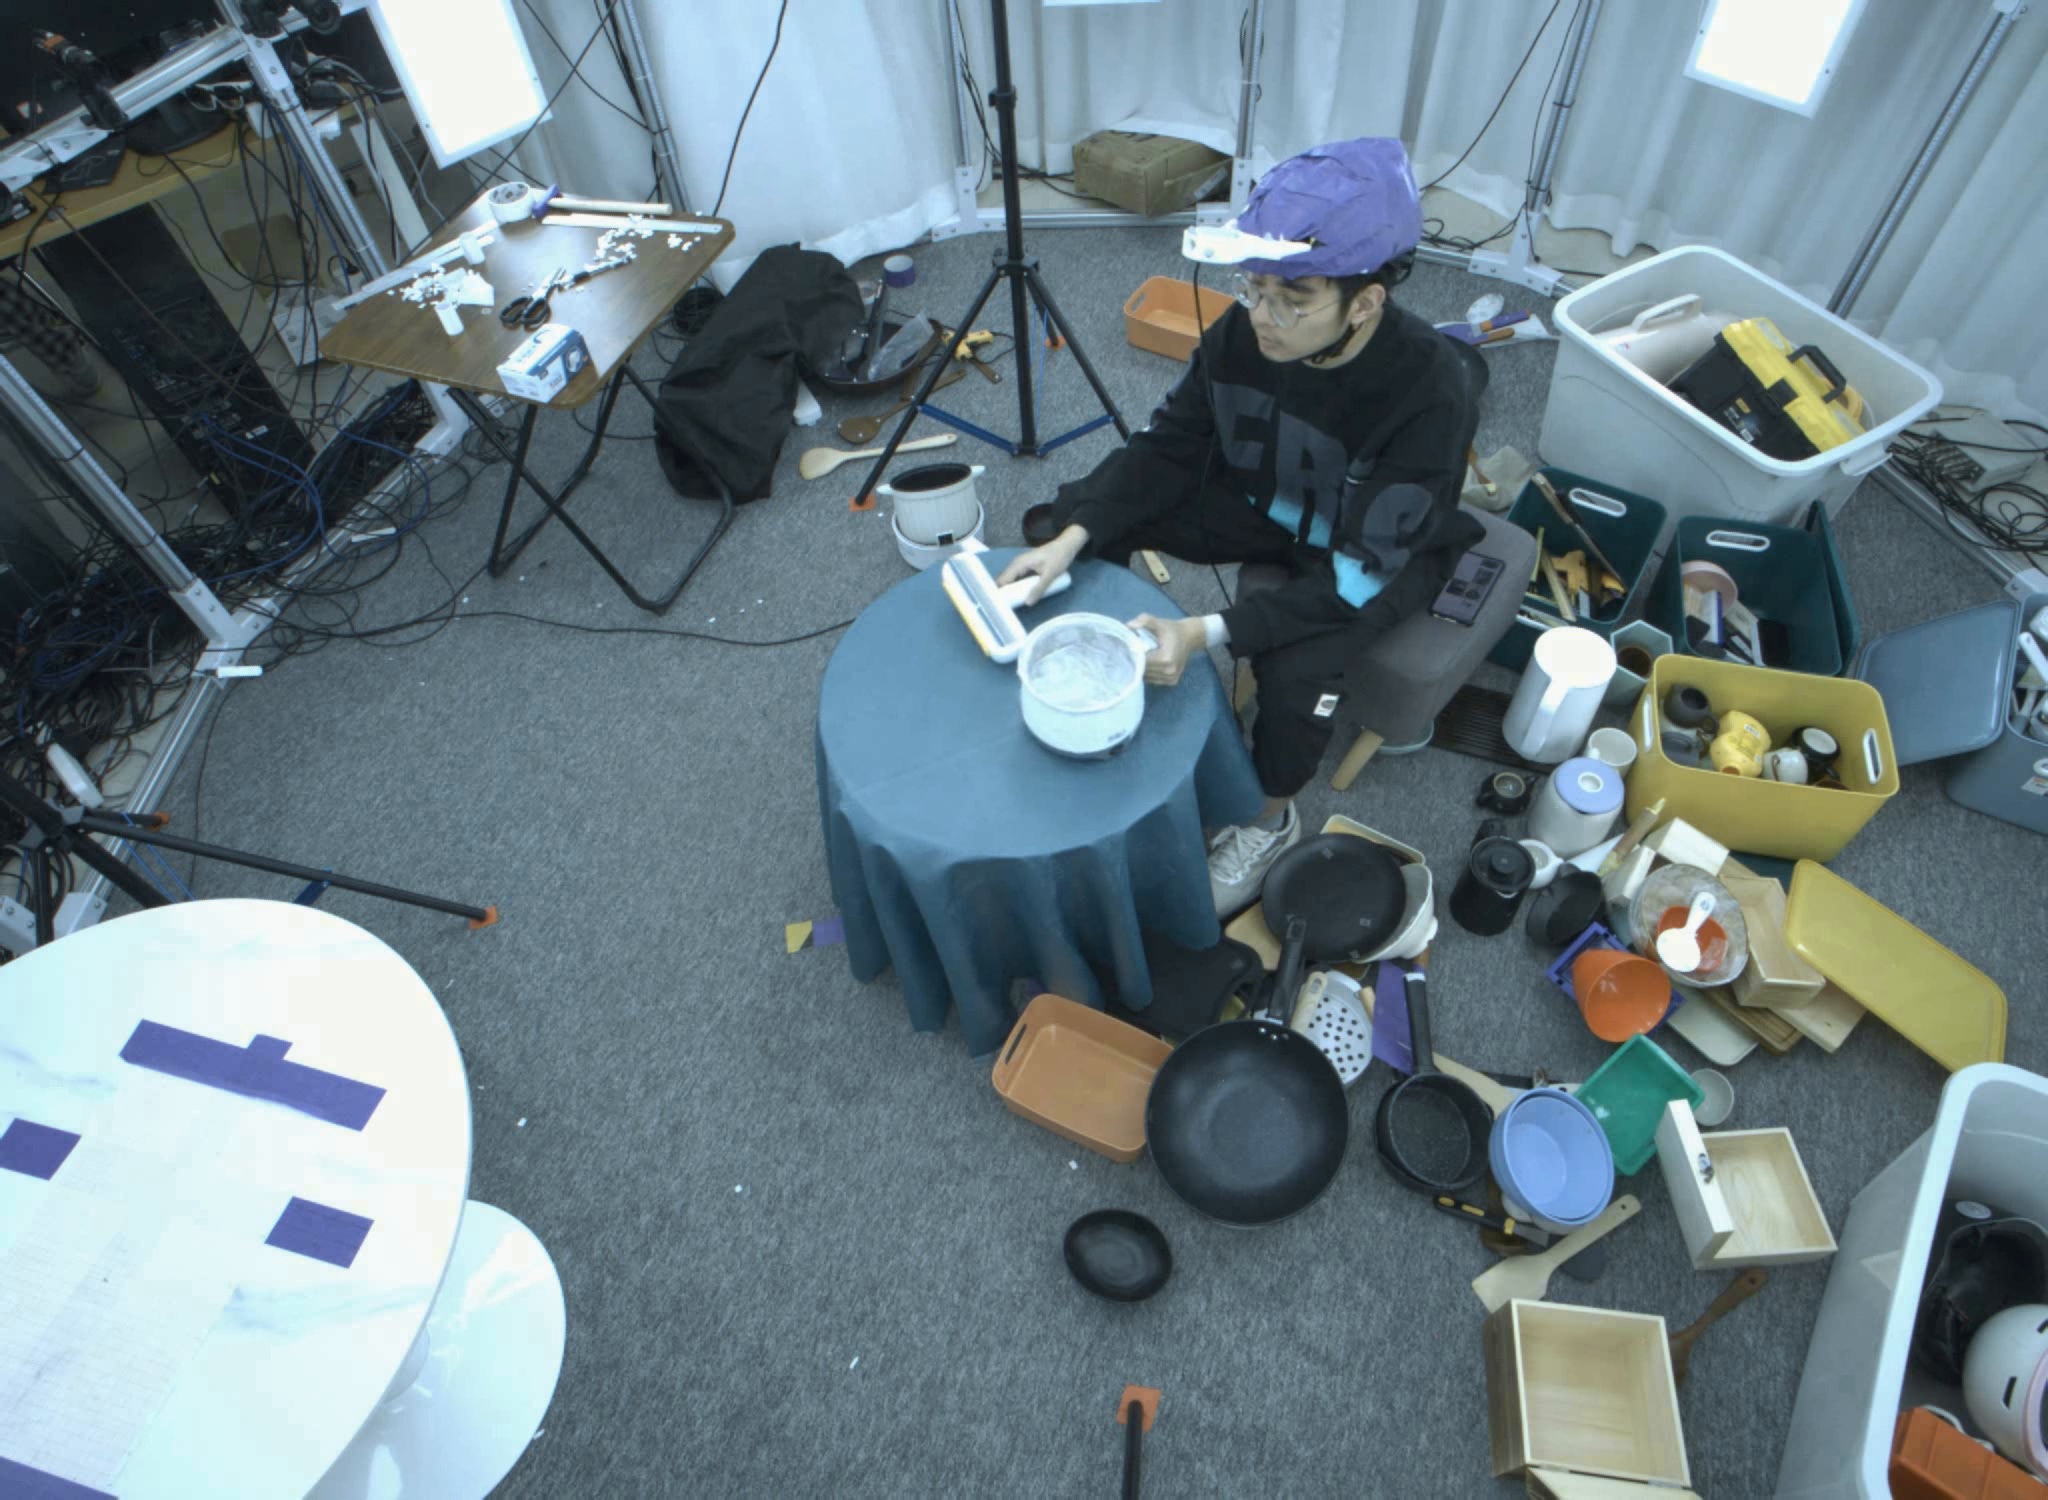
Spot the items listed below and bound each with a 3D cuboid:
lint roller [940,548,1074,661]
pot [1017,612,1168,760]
[{"bbox_3d":[-0.011,-0.244,1.903,0.193,0.075,0.190,-25,68,-11],"label":"lint roller"},{"bbox_3d":[0.105,-0.101,1.762,0.235,0.138,0.175,-31,62,-16],"label":"pot"}]
